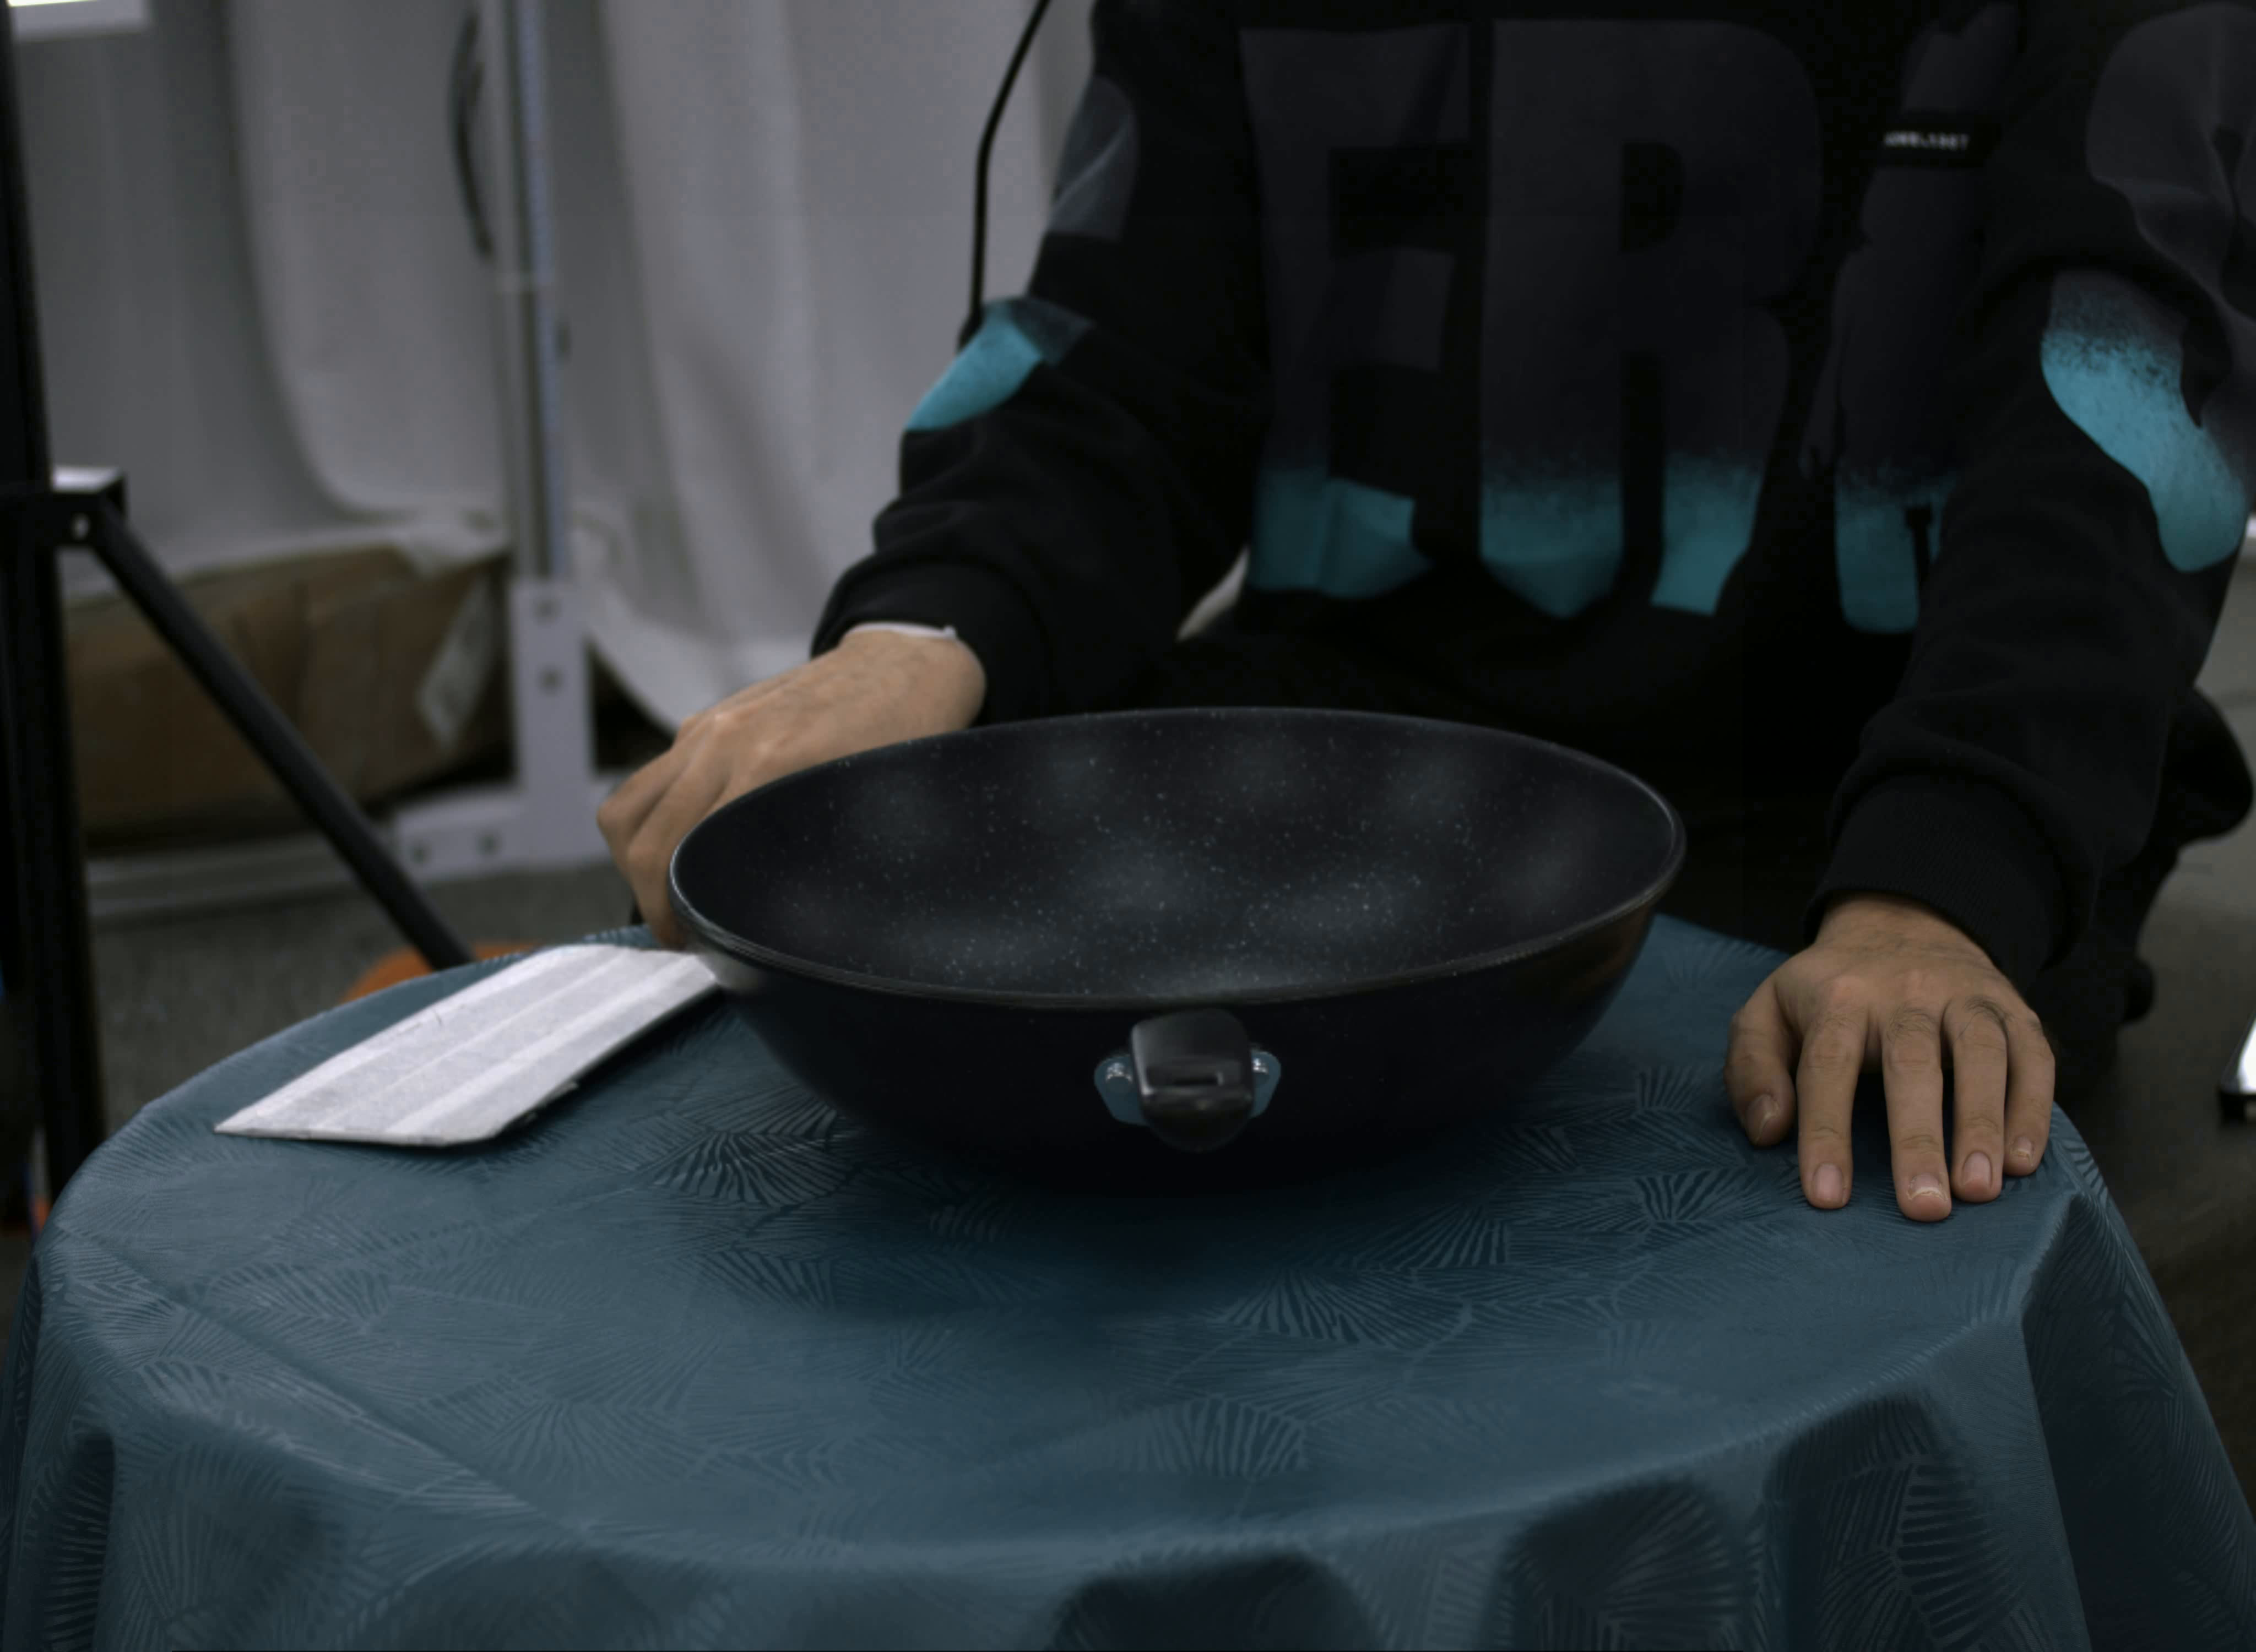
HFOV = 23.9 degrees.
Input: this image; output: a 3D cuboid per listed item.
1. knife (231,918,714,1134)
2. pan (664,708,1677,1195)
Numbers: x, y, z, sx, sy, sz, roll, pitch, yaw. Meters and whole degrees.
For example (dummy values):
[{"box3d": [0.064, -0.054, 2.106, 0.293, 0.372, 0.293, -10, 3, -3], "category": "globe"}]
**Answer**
[{"box3d": [-0.163, 0.051, 1.752, 0.116, 0.022, 0.309, 2, 18, 33], "category": "knife"}, {"box3d": [0.015, 0.057, 1.544, 0.309, 0.111, 0.479, -4, 16, 1], "category": "pan"}]
